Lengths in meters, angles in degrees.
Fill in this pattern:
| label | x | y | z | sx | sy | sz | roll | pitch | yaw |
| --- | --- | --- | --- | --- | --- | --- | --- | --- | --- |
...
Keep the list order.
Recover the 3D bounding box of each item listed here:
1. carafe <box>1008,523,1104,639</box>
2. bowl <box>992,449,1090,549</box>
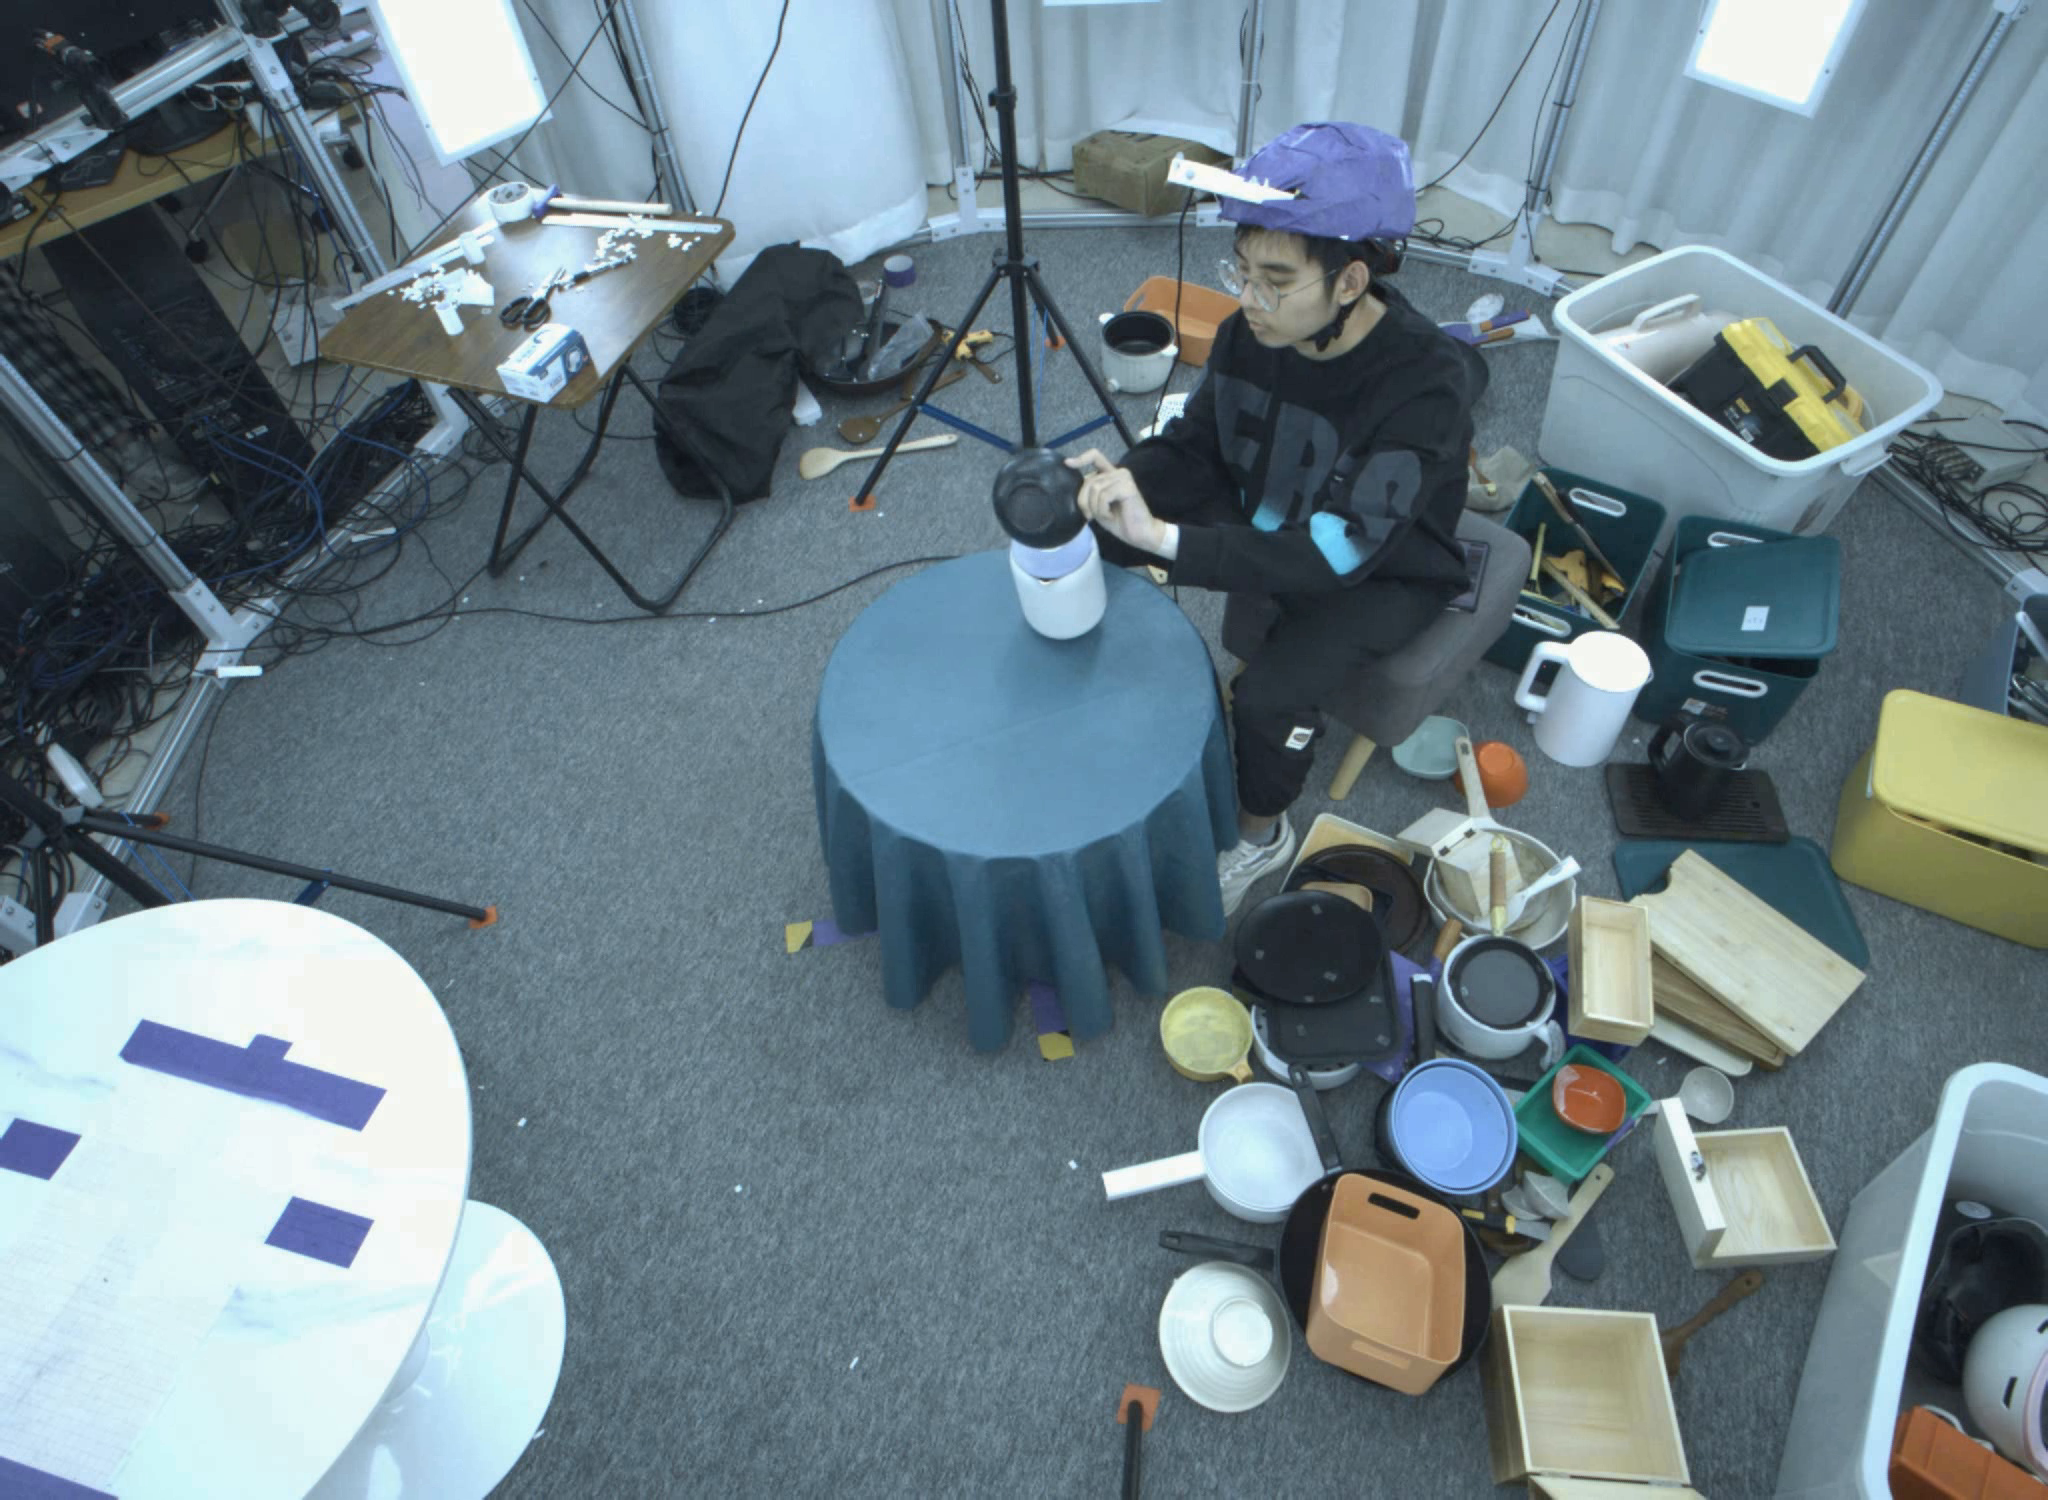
| label | x | y | z | sx | sy | sz | roll | pitch | yaw |
| --- | --- | --- | --- | --- | --- | --- | --- | --- | --- |
| carafe | 0.051 | -0.283 | 1.839 | 0.131 | 0.185 | 0.190 | 3 | 63 | 8 |
| bowl | 0.014 | -0.328 | 1.624 | 0.138 | 0.141 | 0.050 | 16 | 31 | 13 |
